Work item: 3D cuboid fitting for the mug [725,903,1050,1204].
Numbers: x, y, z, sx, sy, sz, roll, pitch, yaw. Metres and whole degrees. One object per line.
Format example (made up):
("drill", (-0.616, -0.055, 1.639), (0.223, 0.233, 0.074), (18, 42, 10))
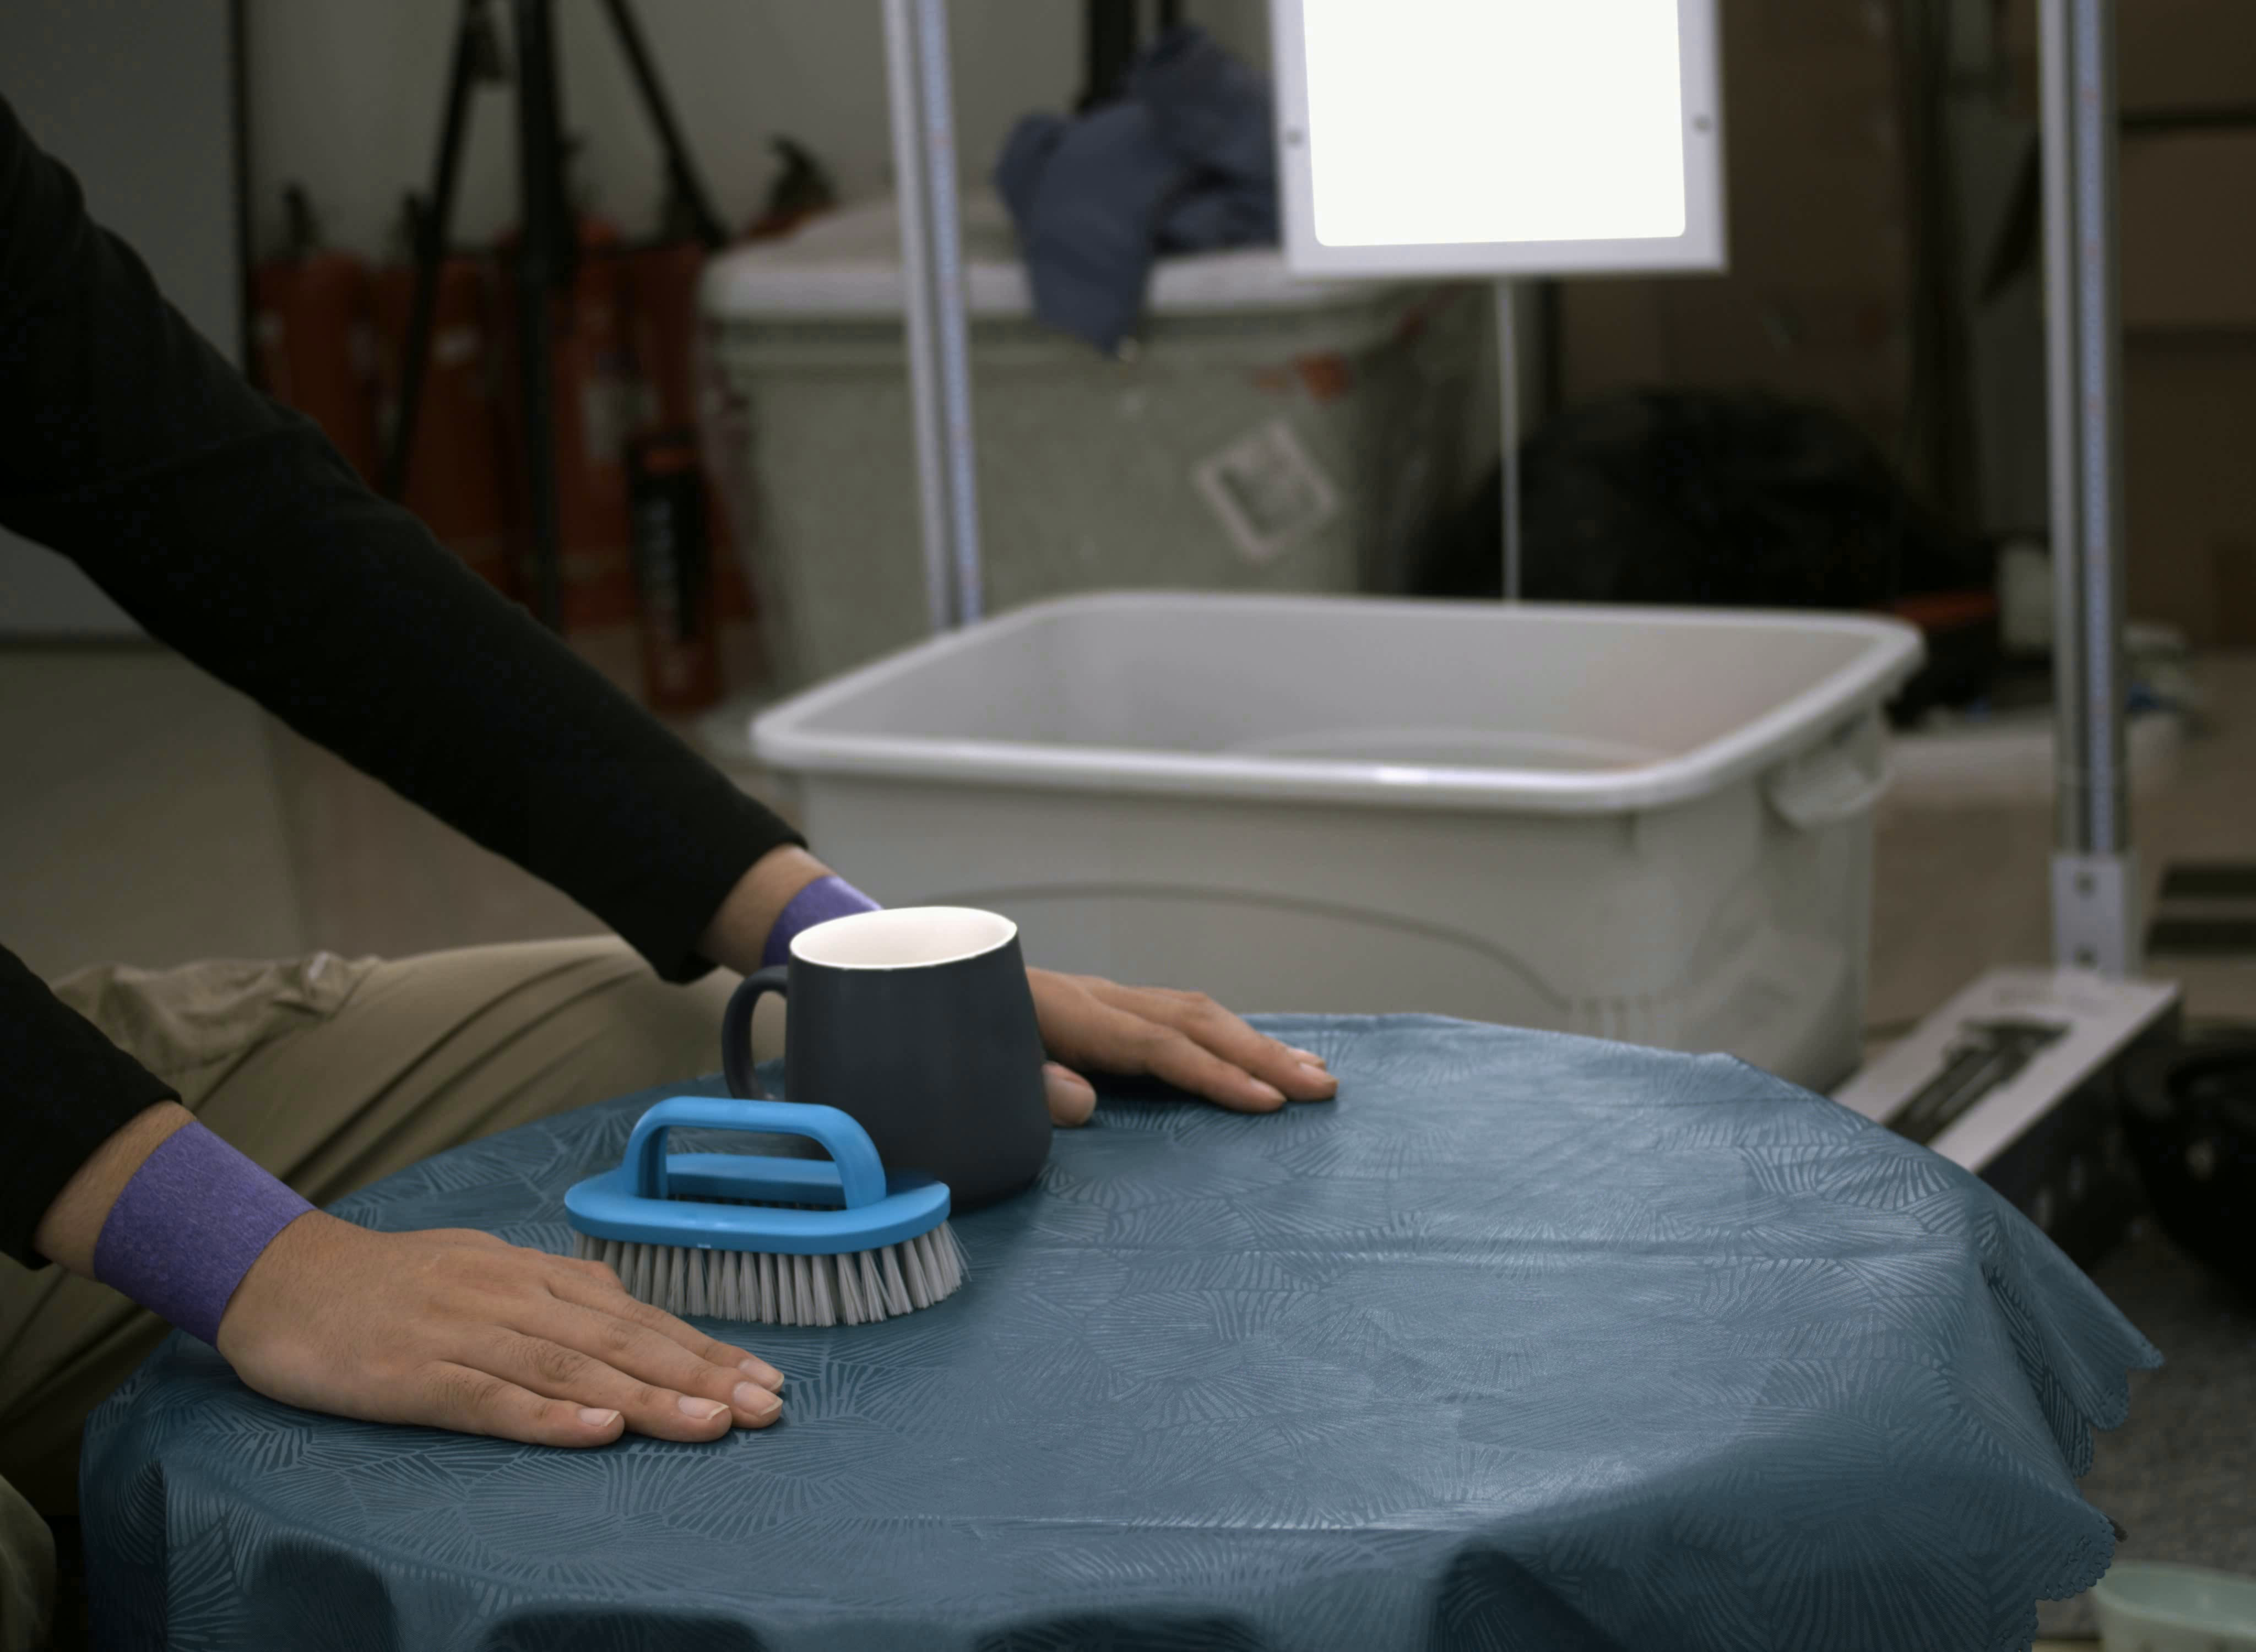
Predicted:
("mug", (-0.088, 0.078, 1.925), (0.125, 0.090, 0.091), (6, 17, 32))

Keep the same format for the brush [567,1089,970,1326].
("brush", (-0.124, 0.120, 1.831), (0.144, 0.064, 0.082), (2, 20, 29))
